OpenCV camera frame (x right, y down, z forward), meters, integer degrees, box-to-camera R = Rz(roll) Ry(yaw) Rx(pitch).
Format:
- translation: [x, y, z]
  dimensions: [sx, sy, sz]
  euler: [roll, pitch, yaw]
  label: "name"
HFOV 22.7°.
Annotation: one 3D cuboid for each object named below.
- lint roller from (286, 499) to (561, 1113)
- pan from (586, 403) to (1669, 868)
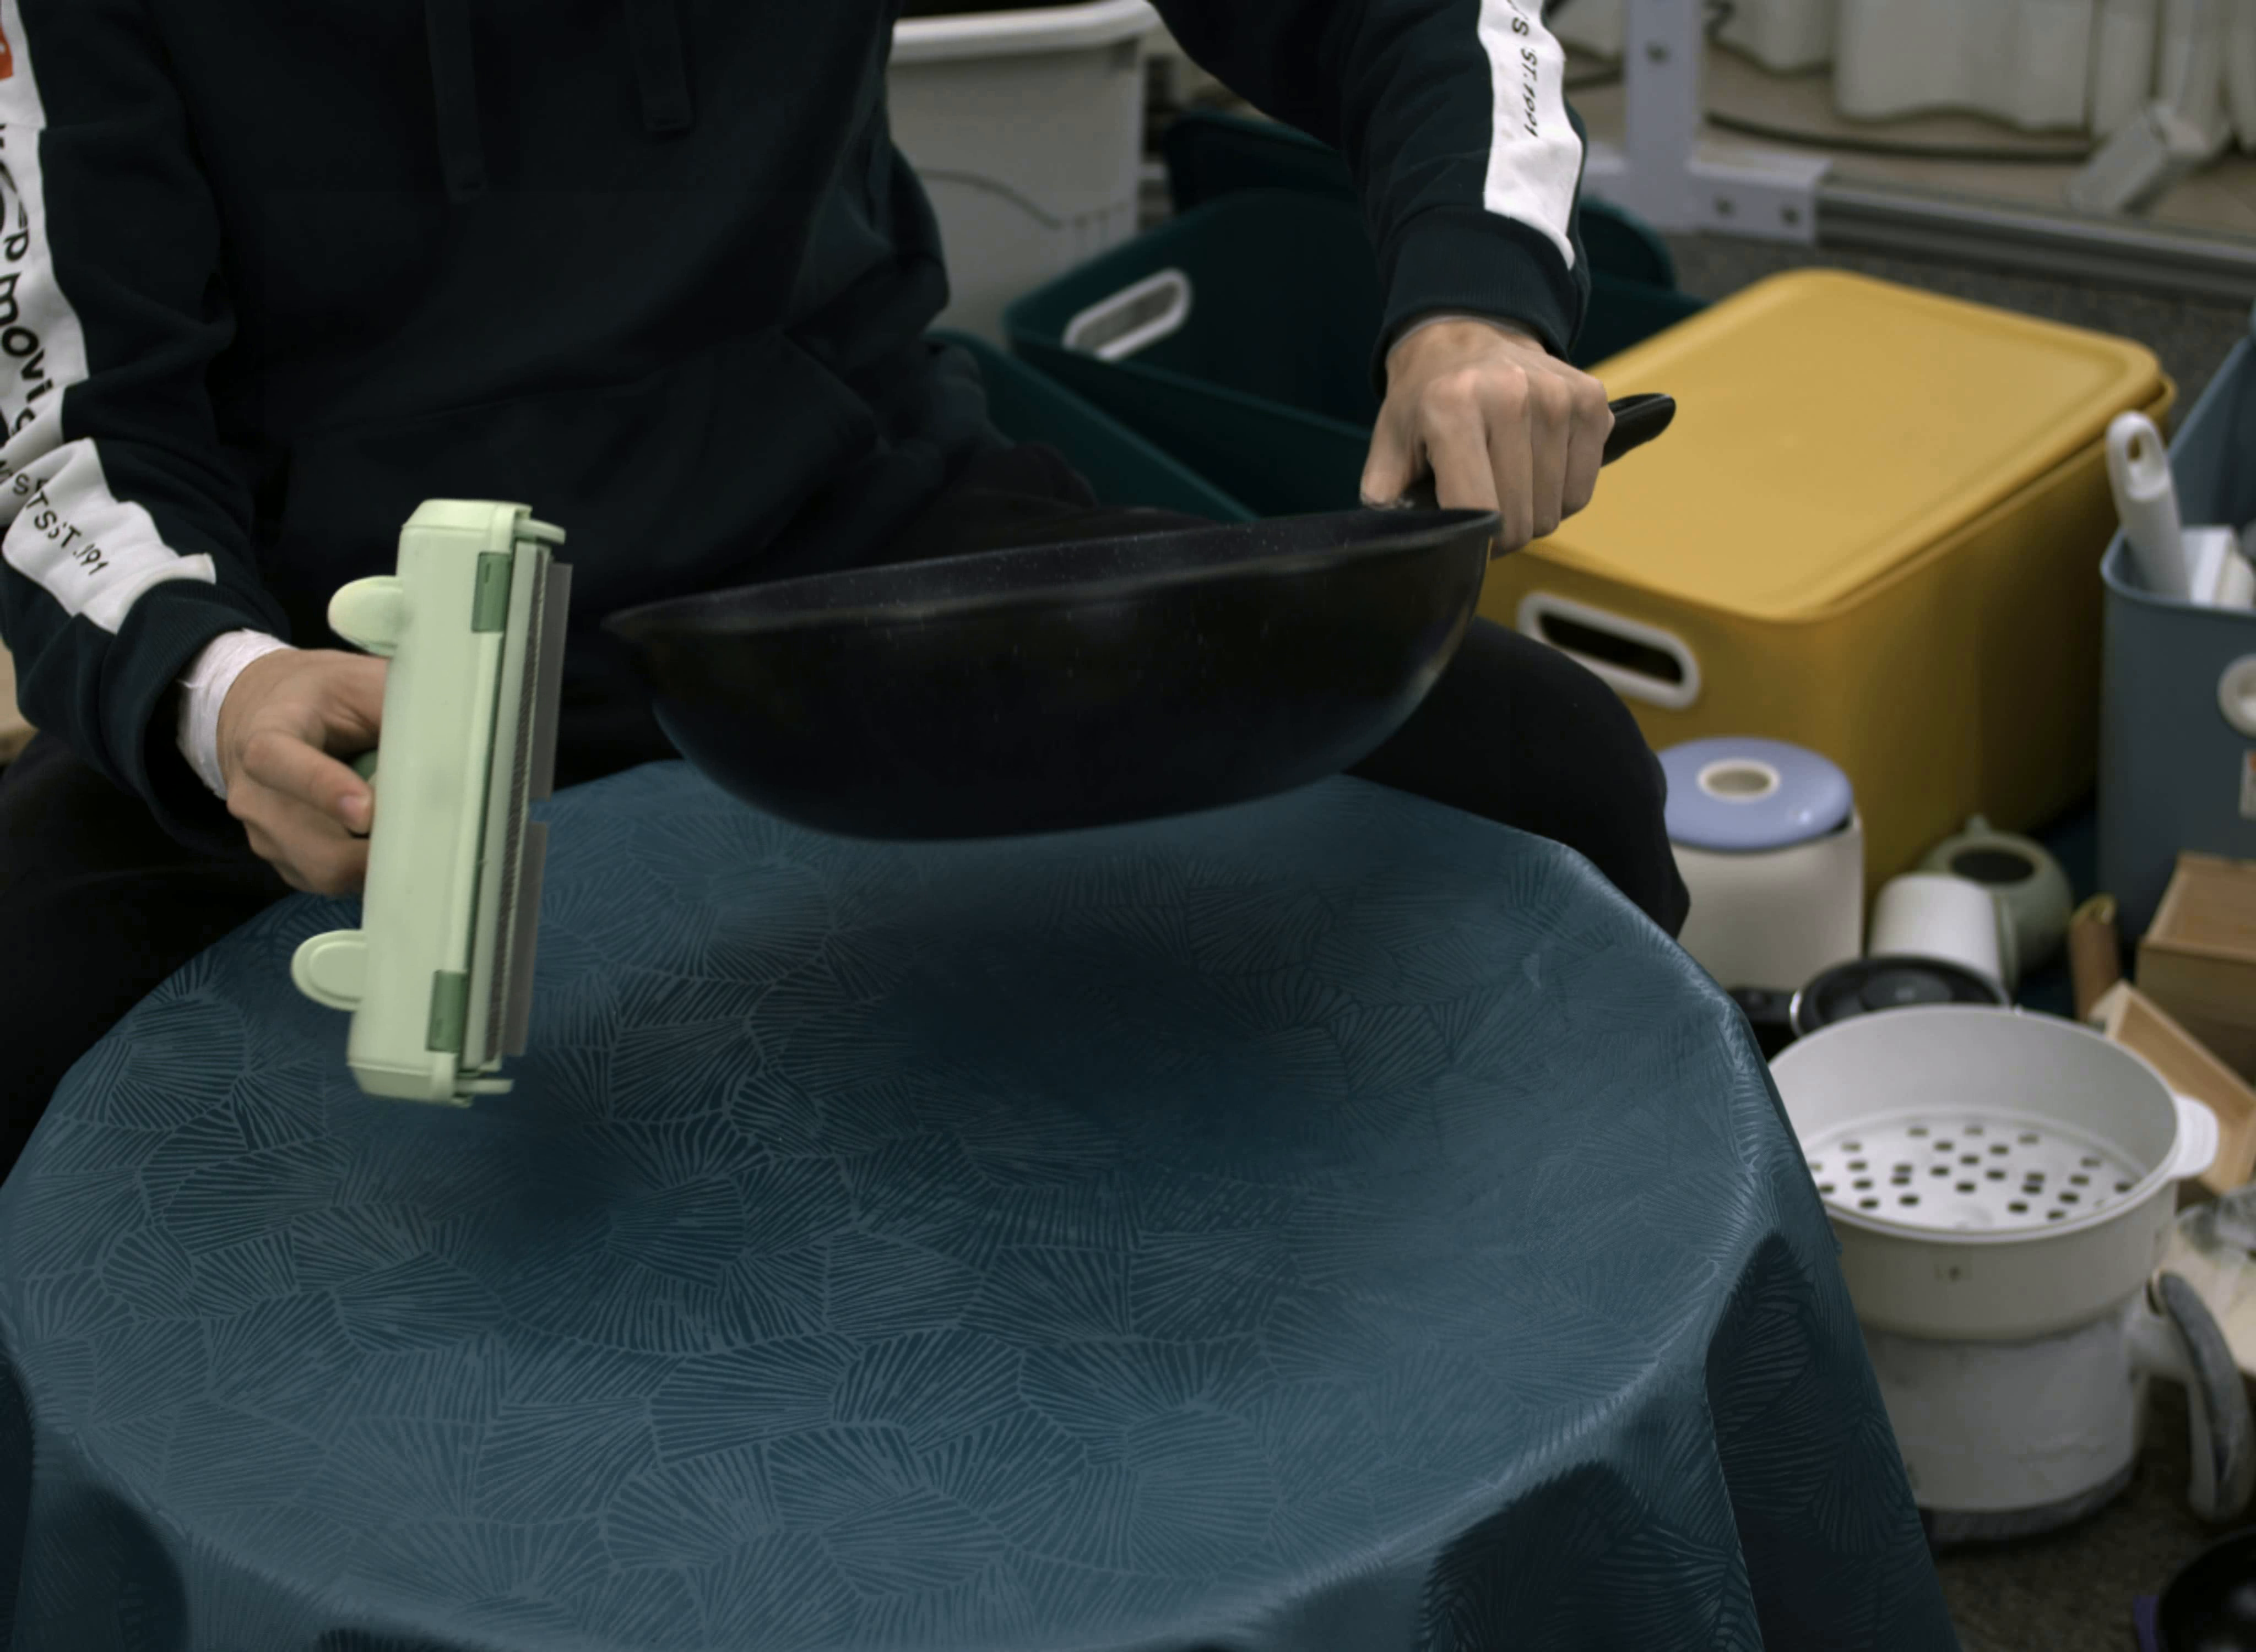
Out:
- translation: [-0.255, -0.009, 1.875]
  dimensions: [0.082, 0.200, 0.182]
  euler: [8, -3, -32]
  label: "lint roller"
- translation: [0.033, -0.066, 1.960]
  dimensions: [0.307, 0.112, 0.481]
  euler: [1, 10, 45]
  label: "pan"
